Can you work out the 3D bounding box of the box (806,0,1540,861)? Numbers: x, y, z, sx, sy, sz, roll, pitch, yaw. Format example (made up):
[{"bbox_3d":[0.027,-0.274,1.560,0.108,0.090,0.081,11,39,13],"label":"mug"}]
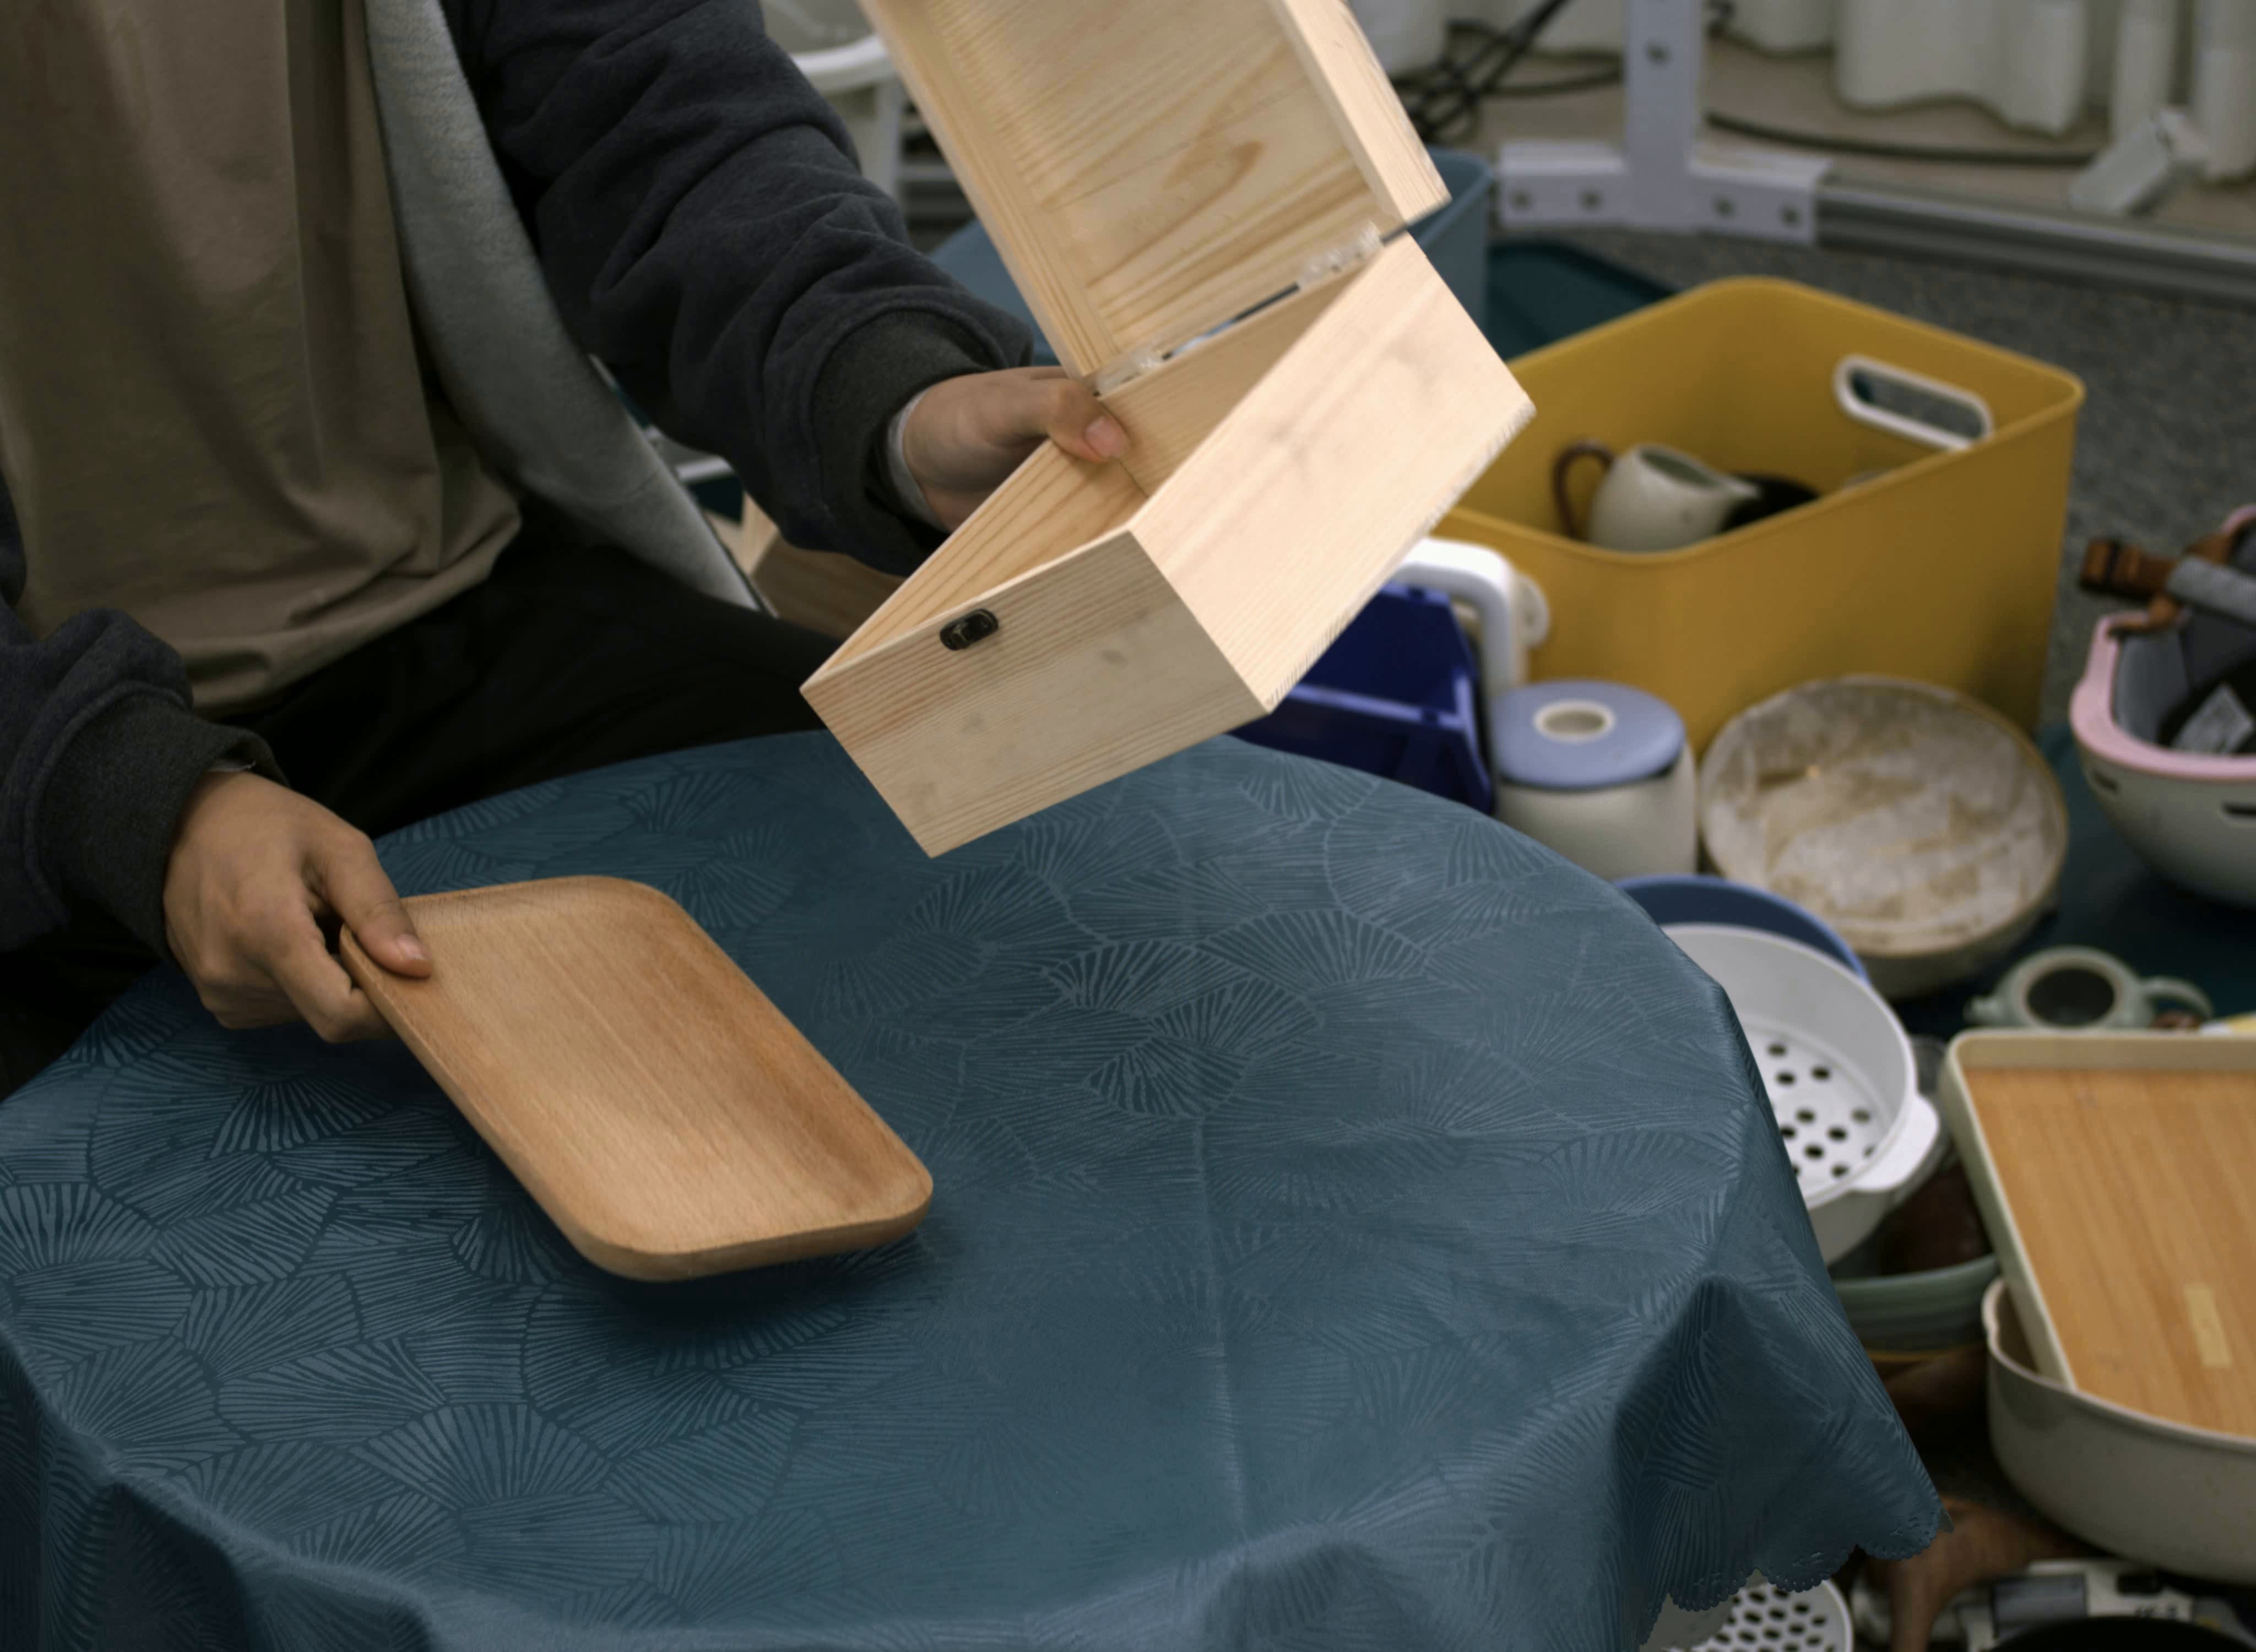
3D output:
[{"bbox_3d":[-0.017,-0.178,1.889,0.179,0.252,0.270,-27,14,47],"label":"box"}]

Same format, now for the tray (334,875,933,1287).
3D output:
[{"bbox_3d":[-0.169,0.083,1.881,0.131,0.022,0.252,-4,27,-30],"label":"tray"}]
